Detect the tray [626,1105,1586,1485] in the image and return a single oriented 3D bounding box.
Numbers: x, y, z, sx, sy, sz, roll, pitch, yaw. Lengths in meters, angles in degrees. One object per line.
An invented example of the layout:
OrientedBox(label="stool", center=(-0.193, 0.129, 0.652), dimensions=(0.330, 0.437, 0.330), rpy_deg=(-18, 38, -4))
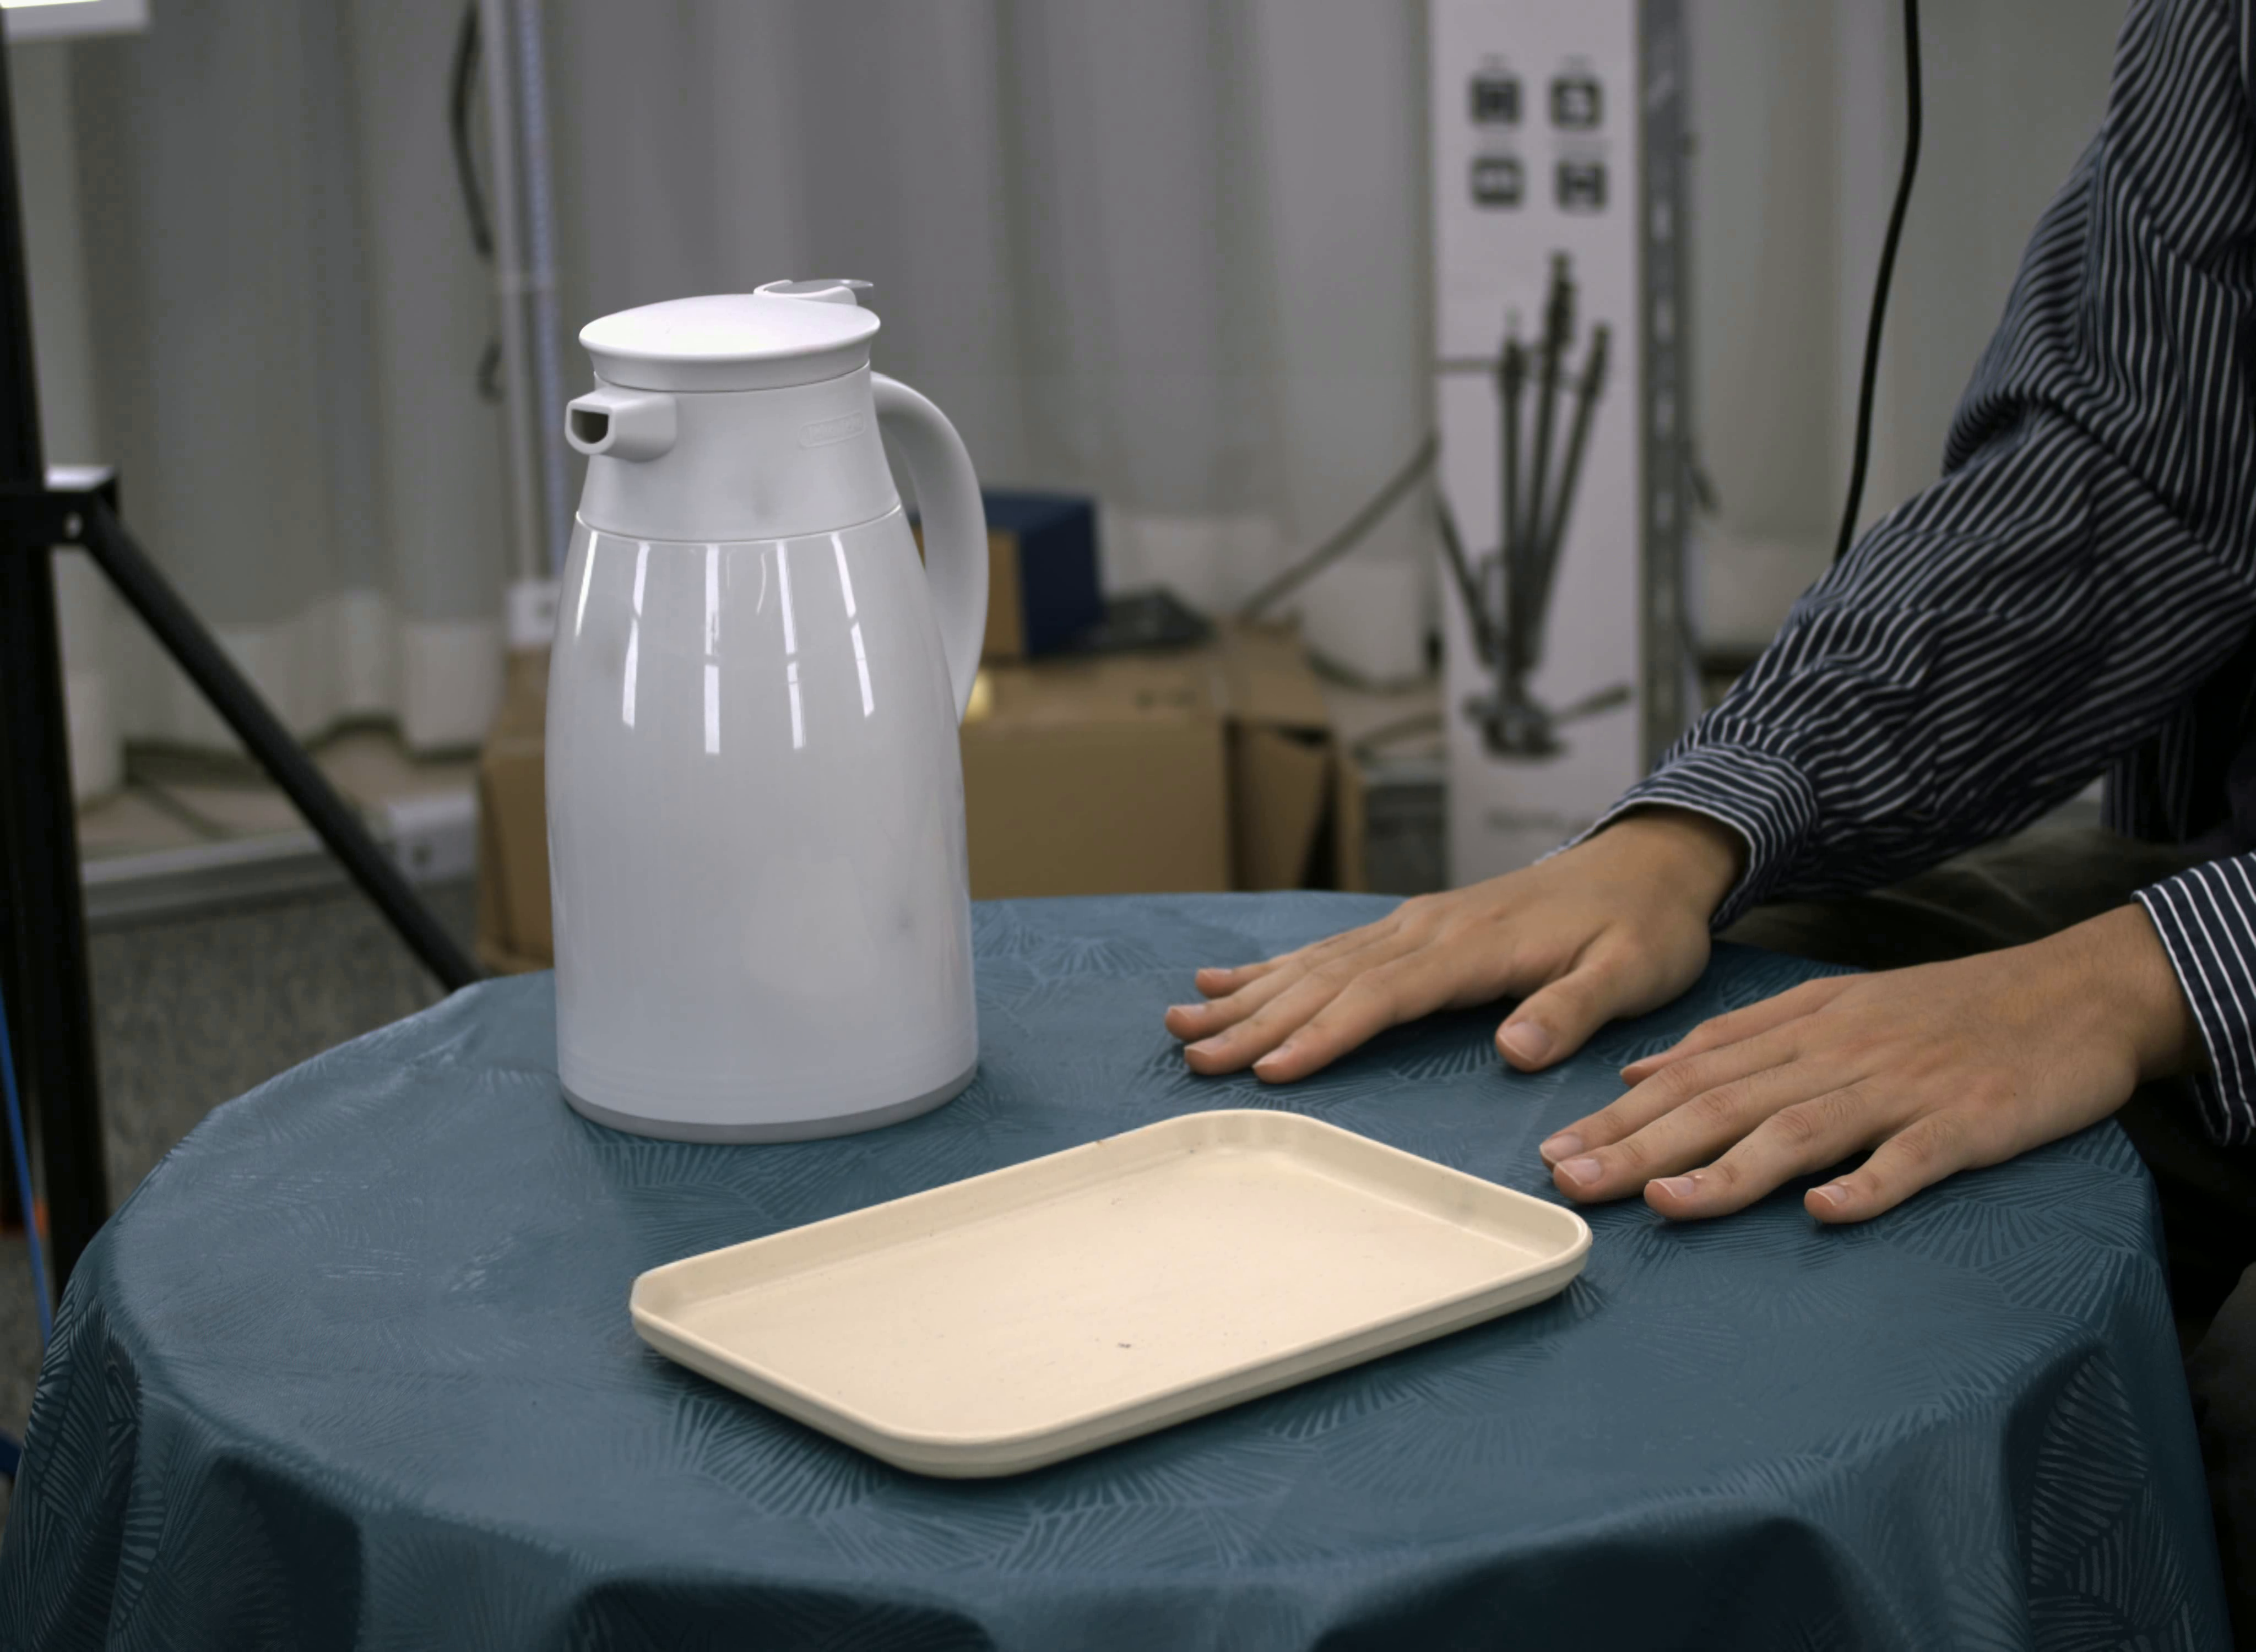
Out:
OrientedBox(label="tray", center=(-0.004, 0.128, 1.463), dimensions=(0.234, 0.017, 0.175), rpy_deg=(-14, 20, -35))

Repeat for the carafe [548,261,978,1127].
OrientedBox(label="carafe", center=(-0.106, -0.049, 1.667), dimensions=(0.135, 0.249, 0.164), rpy_deg=(8, 17, 35))
